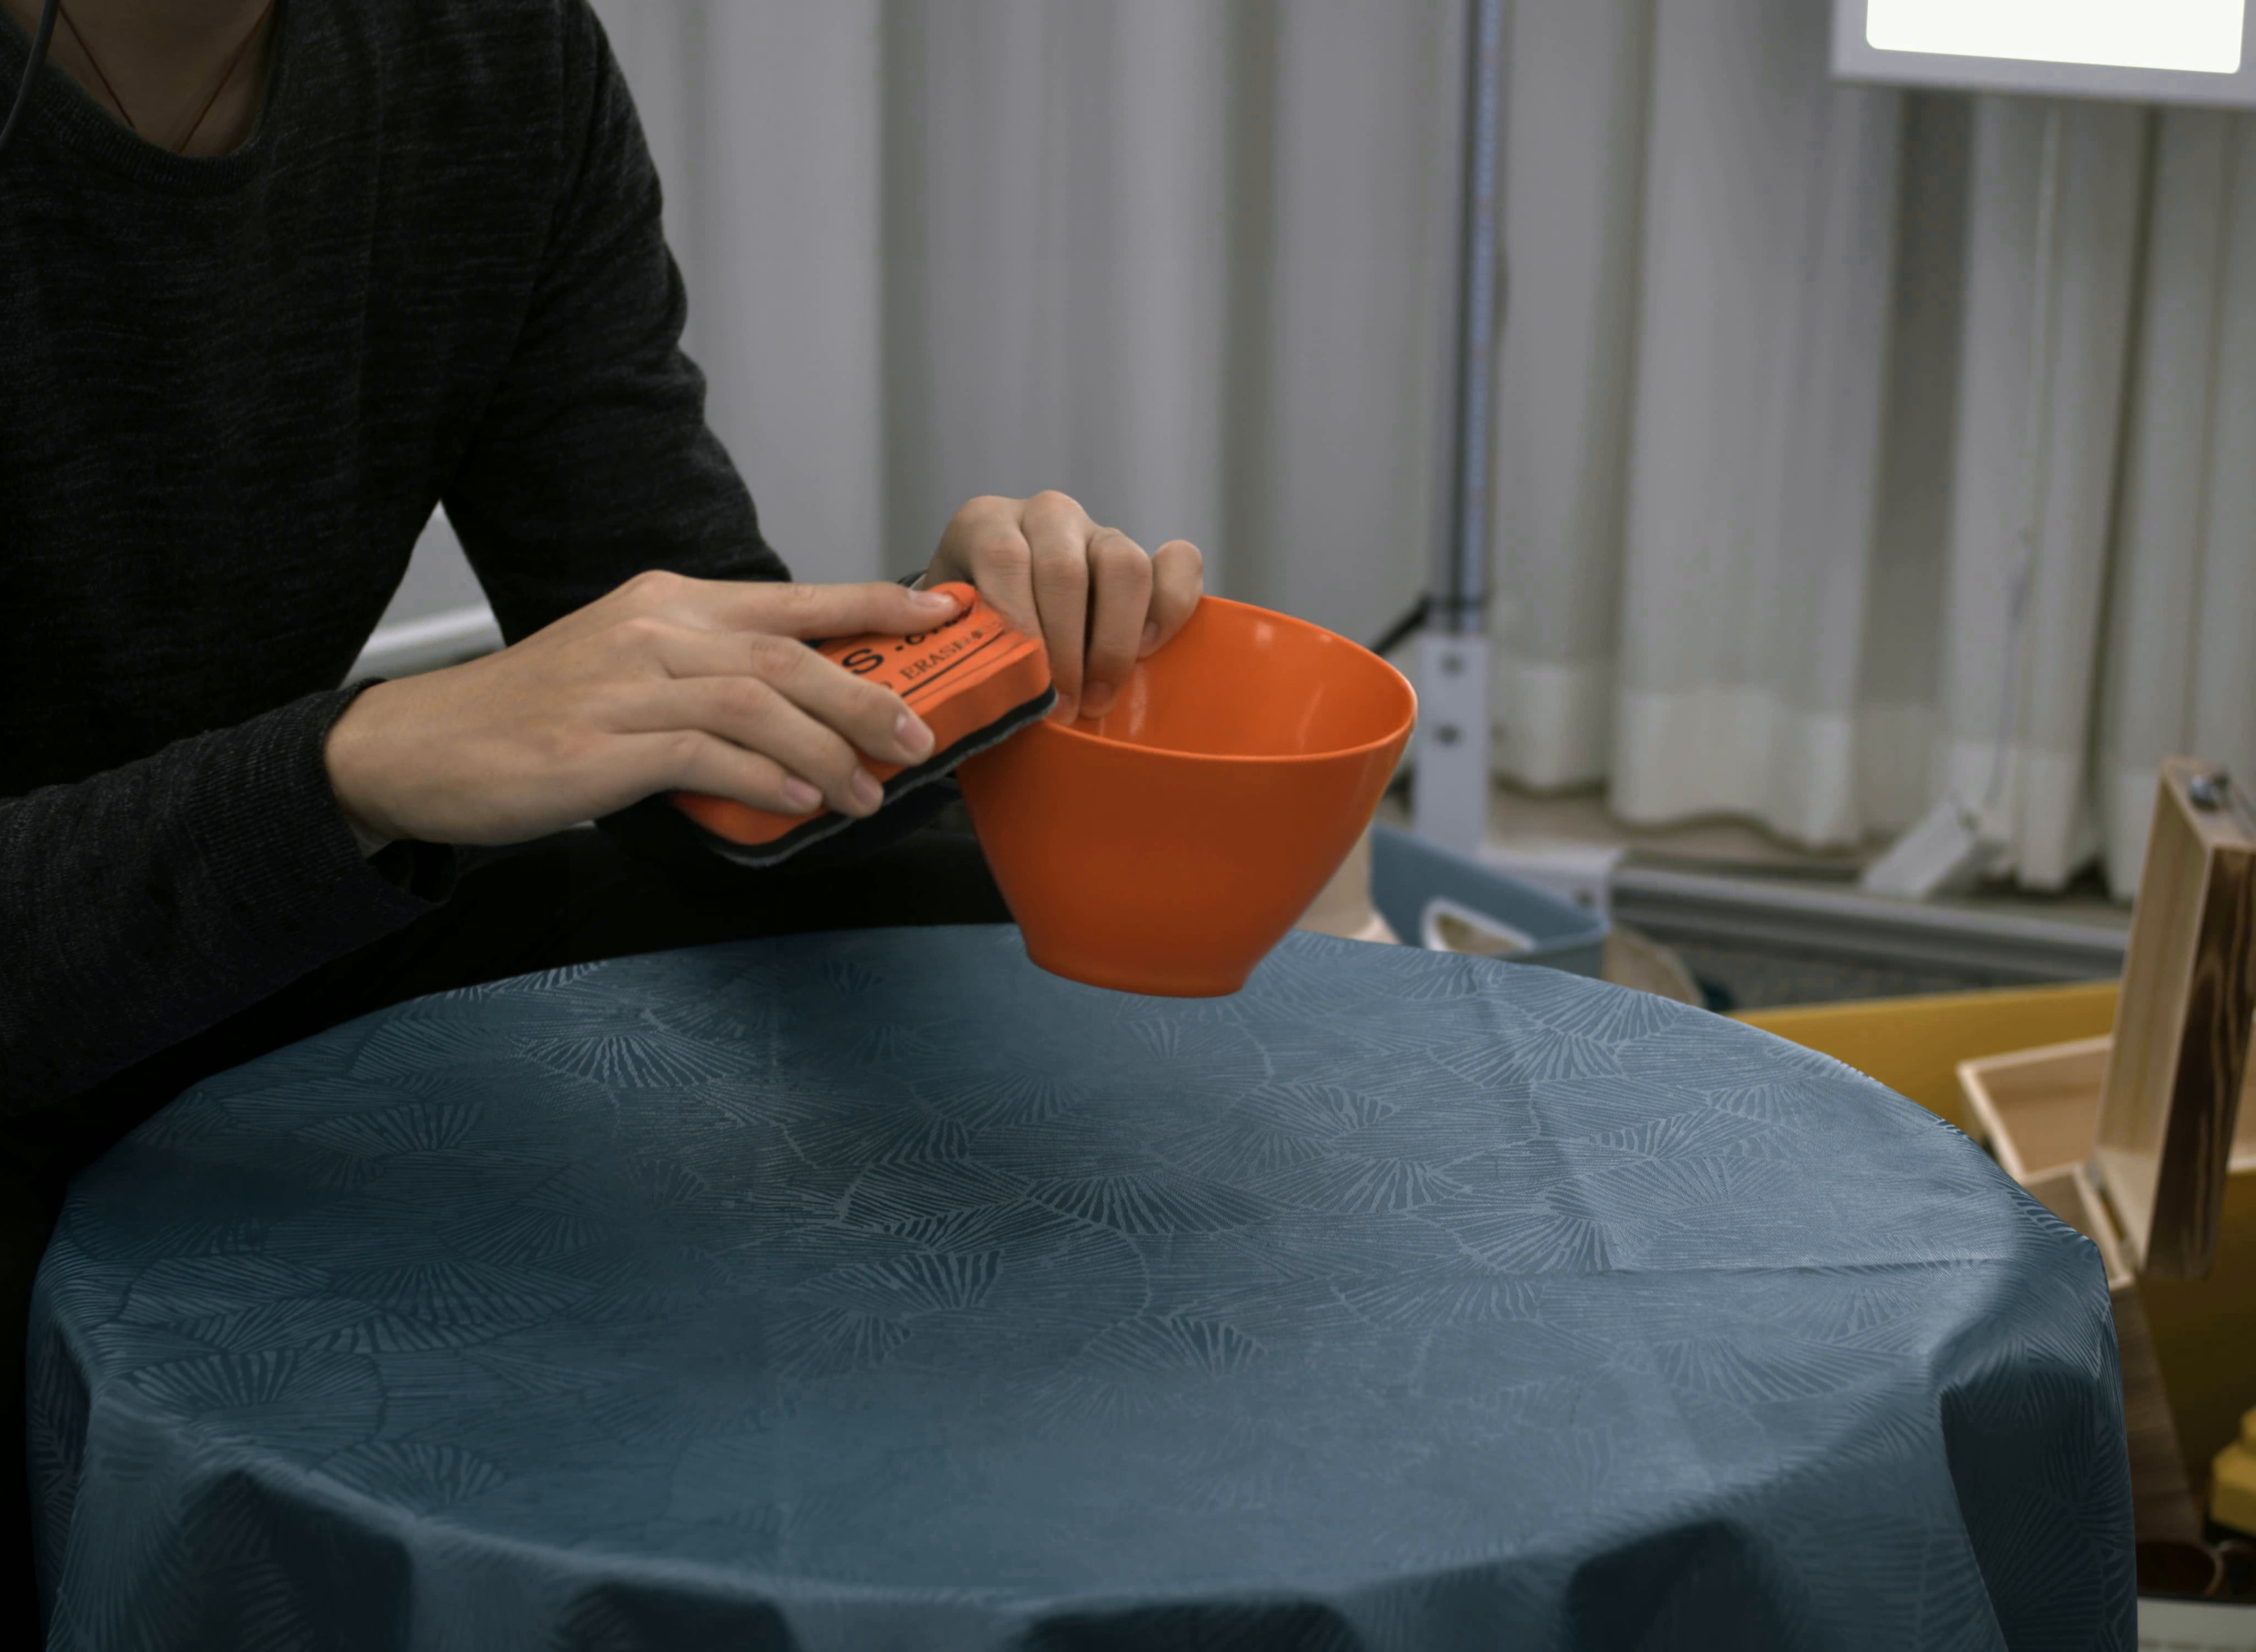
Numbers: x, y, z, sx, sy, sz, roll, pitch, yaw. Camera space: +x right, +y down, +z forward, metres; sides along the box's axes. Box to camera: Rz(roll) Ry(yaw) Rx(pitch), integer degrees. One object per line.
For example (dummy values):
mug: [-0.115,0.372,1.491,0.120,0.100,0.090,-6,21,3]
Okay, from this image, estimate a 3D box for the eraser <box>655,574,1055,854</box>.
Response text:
eraser: [-0.078,-0.033,1.511,0.108,0.023,0.058,-28,37,-21]

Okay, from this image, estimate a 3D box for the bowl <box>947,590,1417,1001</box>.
bowl: [0.008,-0.007,1.588,0.147,0.105,0.147,9,10,-1]
